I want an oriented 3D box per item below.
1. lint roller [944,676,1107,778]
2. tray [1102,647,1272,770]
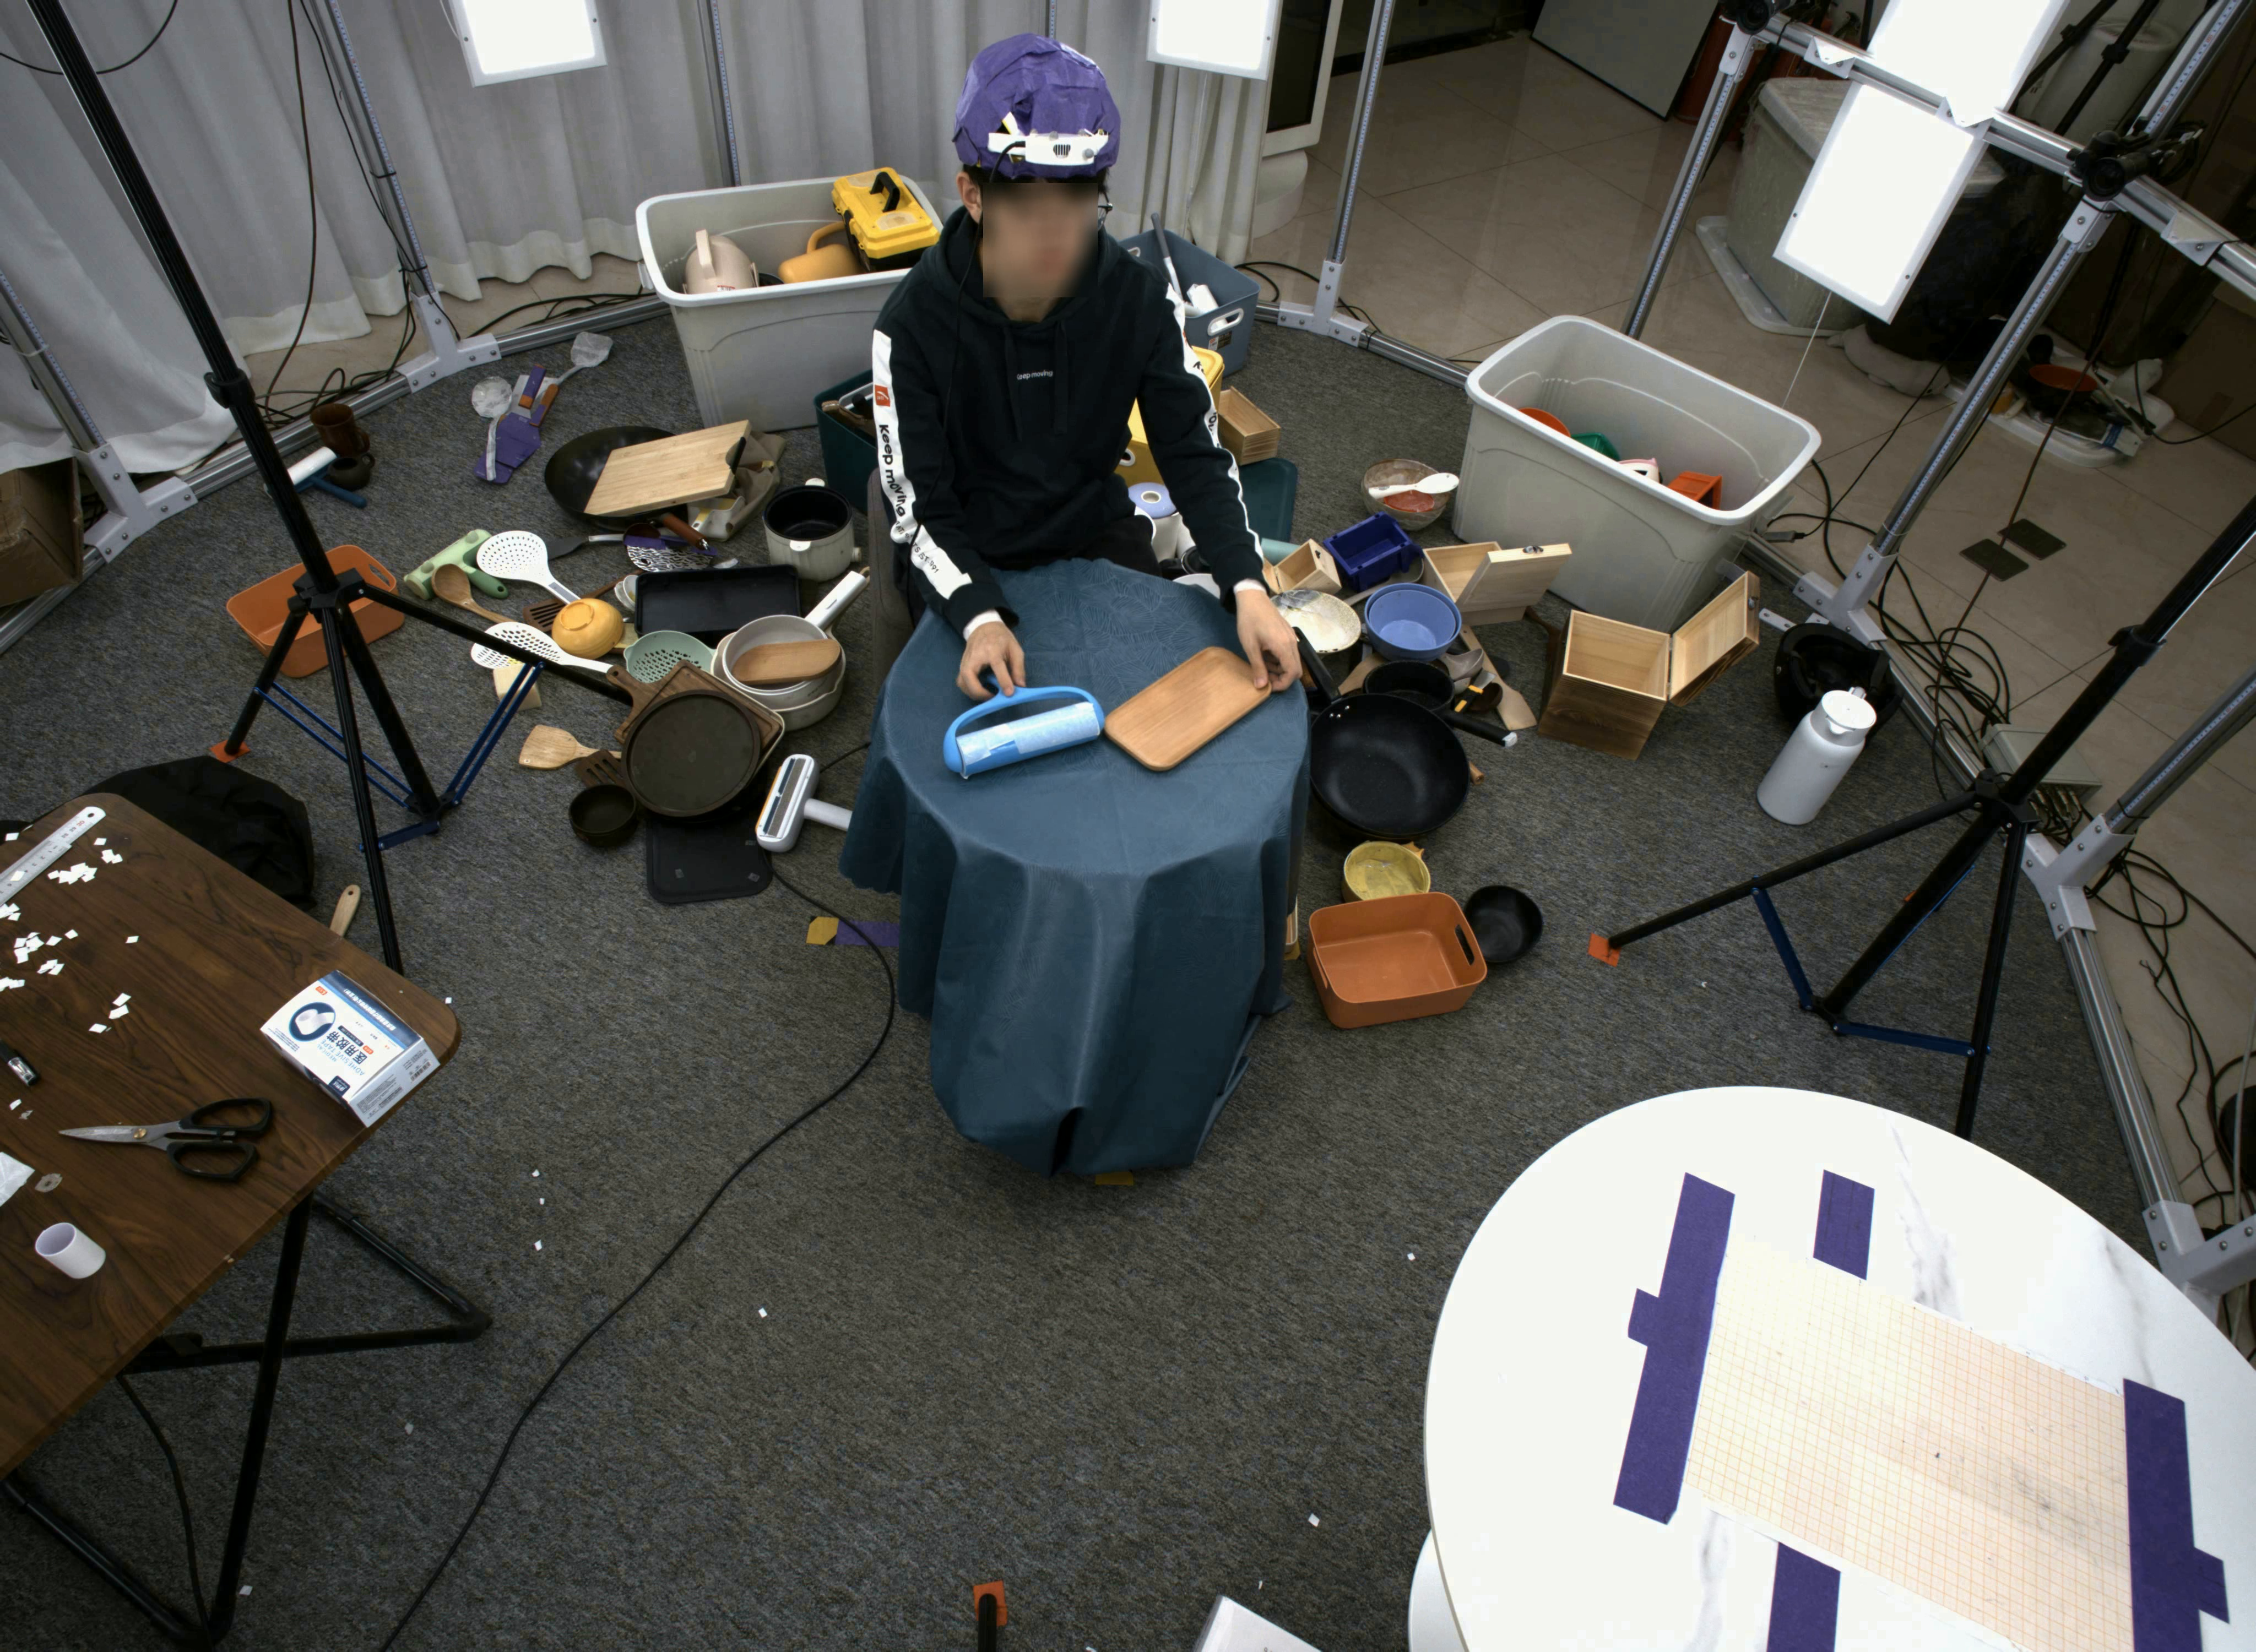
[{"bbox_3d":[-0.162,-0.160,1.759,0.229,0.066,0.184,-20,54,-18],"label":"lint roller"},{"bbox_3d":[0.084,-0.168,1.807,0.253,0.022,0.132,-36,57,-29],"label":"tray"}]
